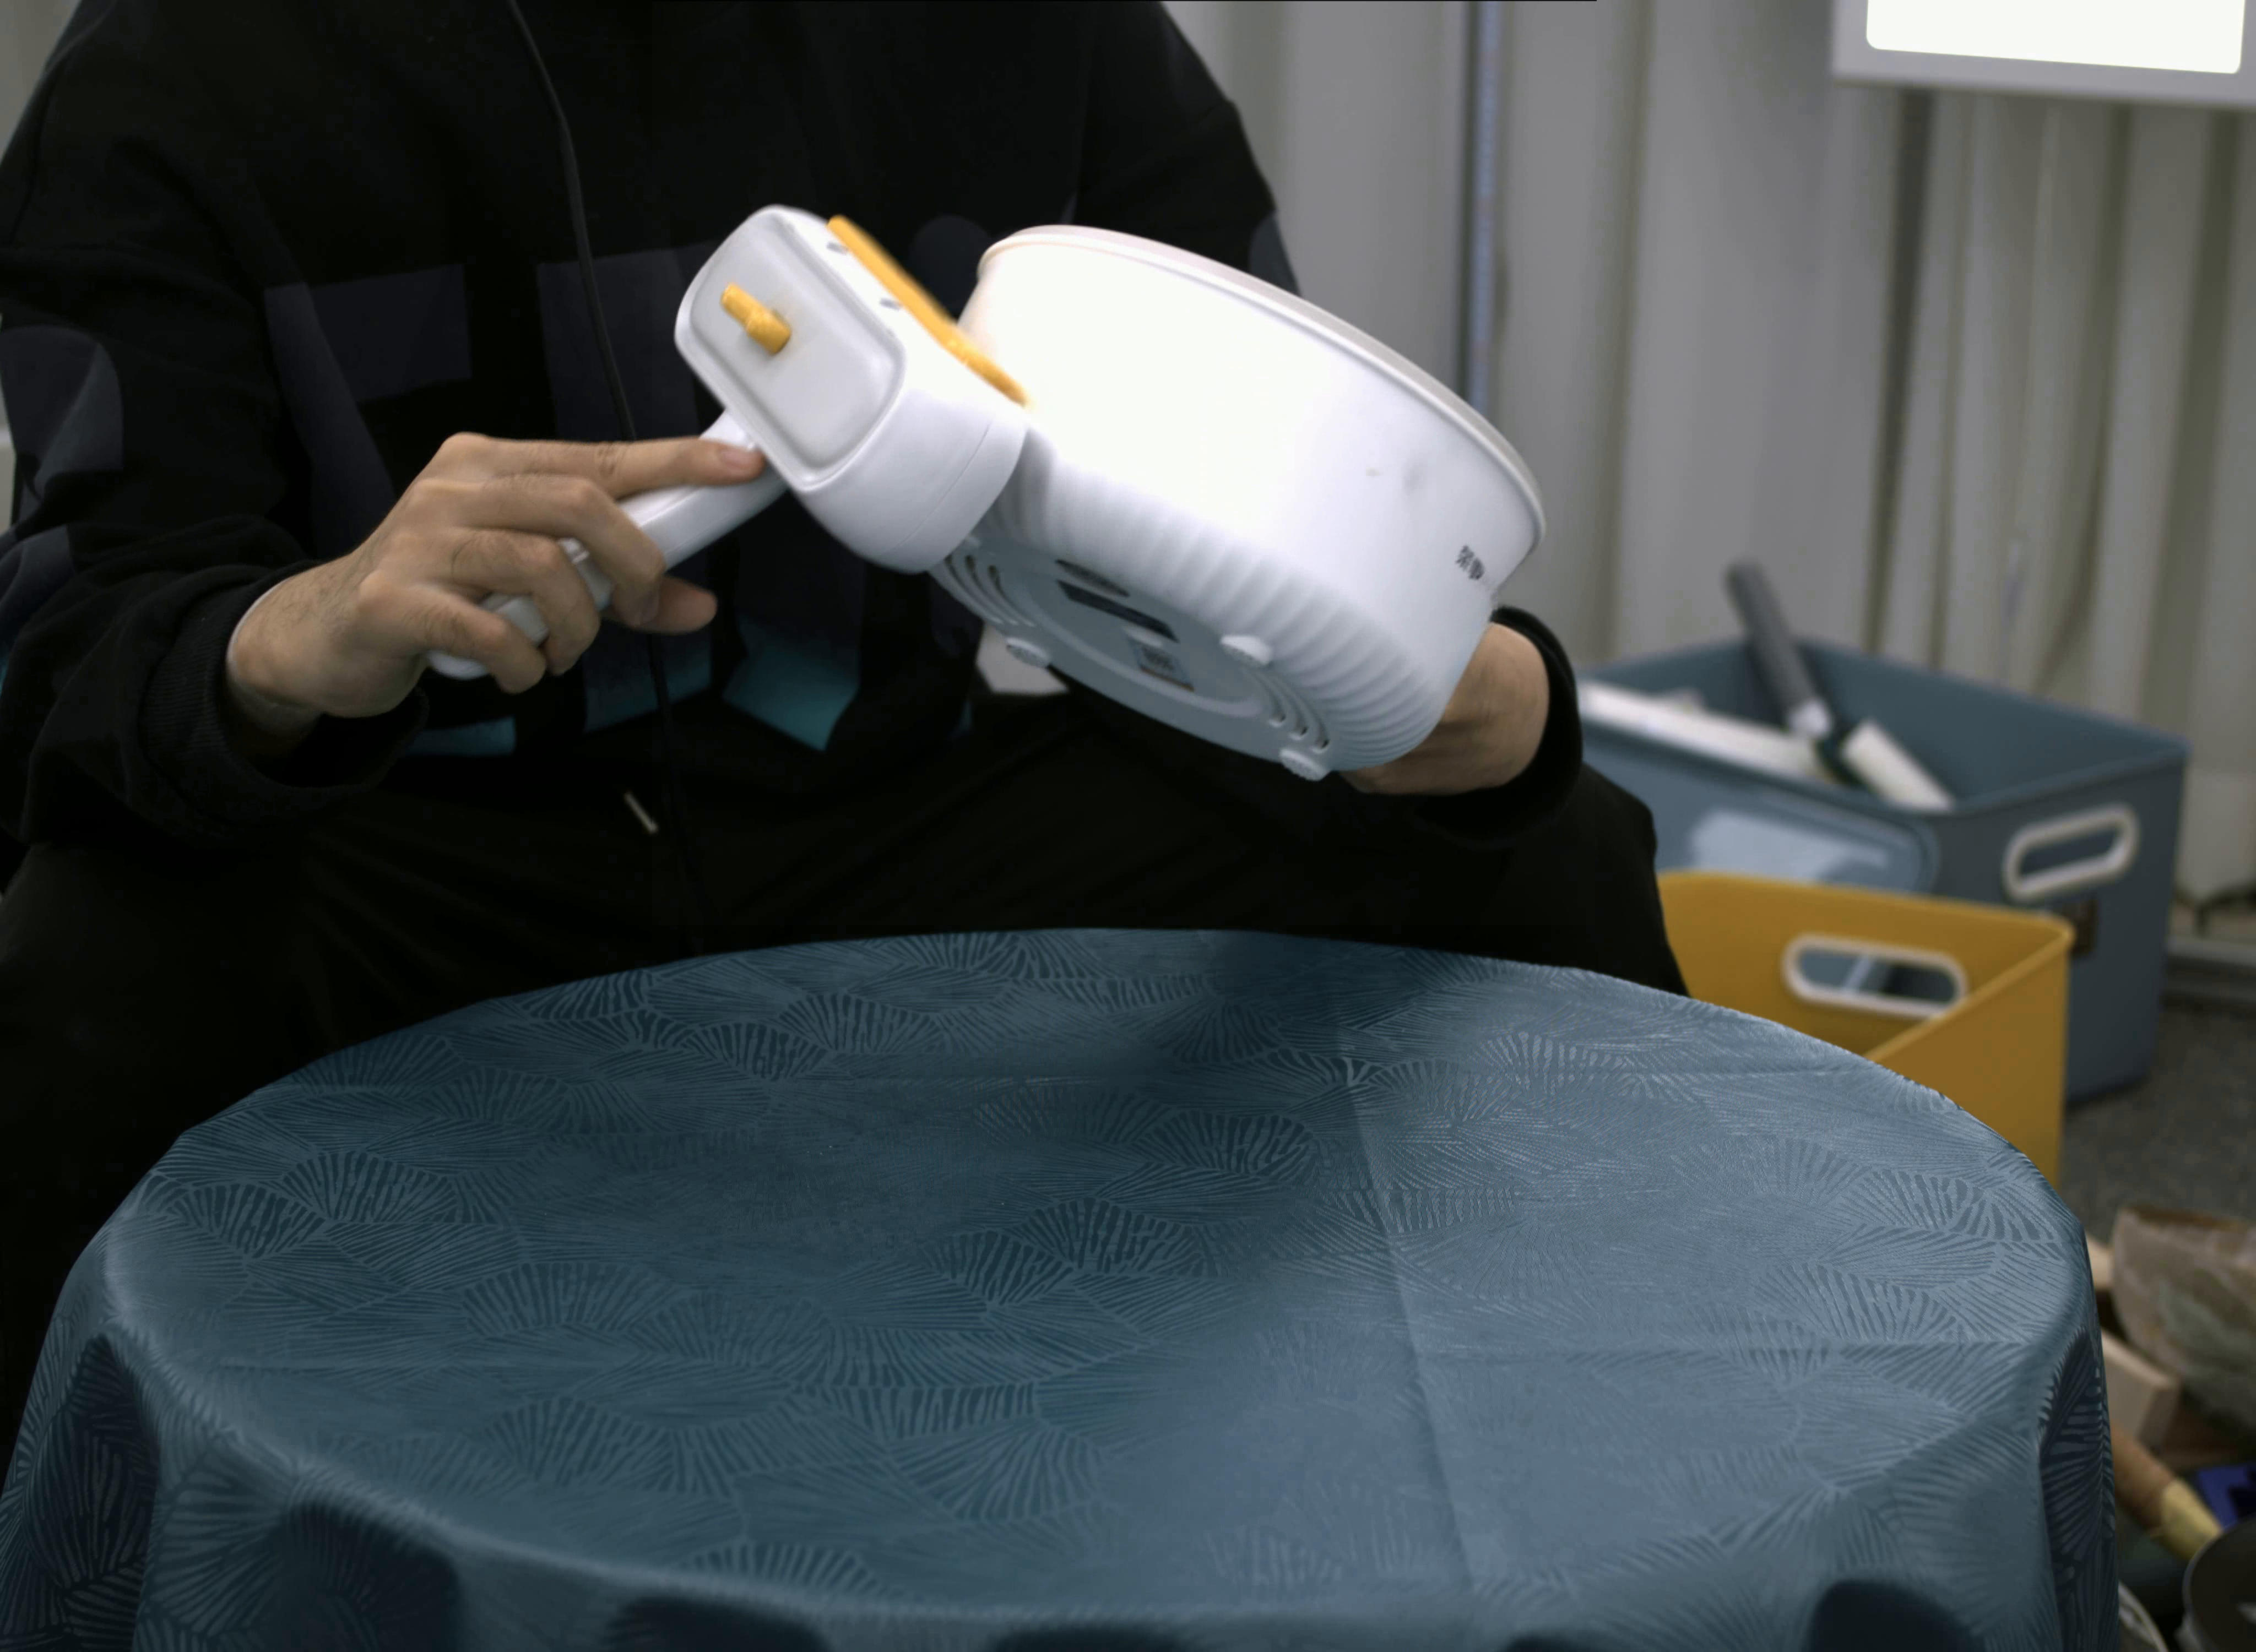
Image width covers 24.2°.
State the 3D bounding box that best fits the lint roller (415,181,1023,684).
[{"bbox_3d":[-0.136,-0.107,1.627,0.192,0.075,0.190,-46,36,-1],"label":"lint roller"}]

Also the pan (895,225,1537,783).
[{"bbox_3d":[0.036,-0.070,1.745,0.199,0.102,0.358,22,-14,18],"label":"pan"}]
